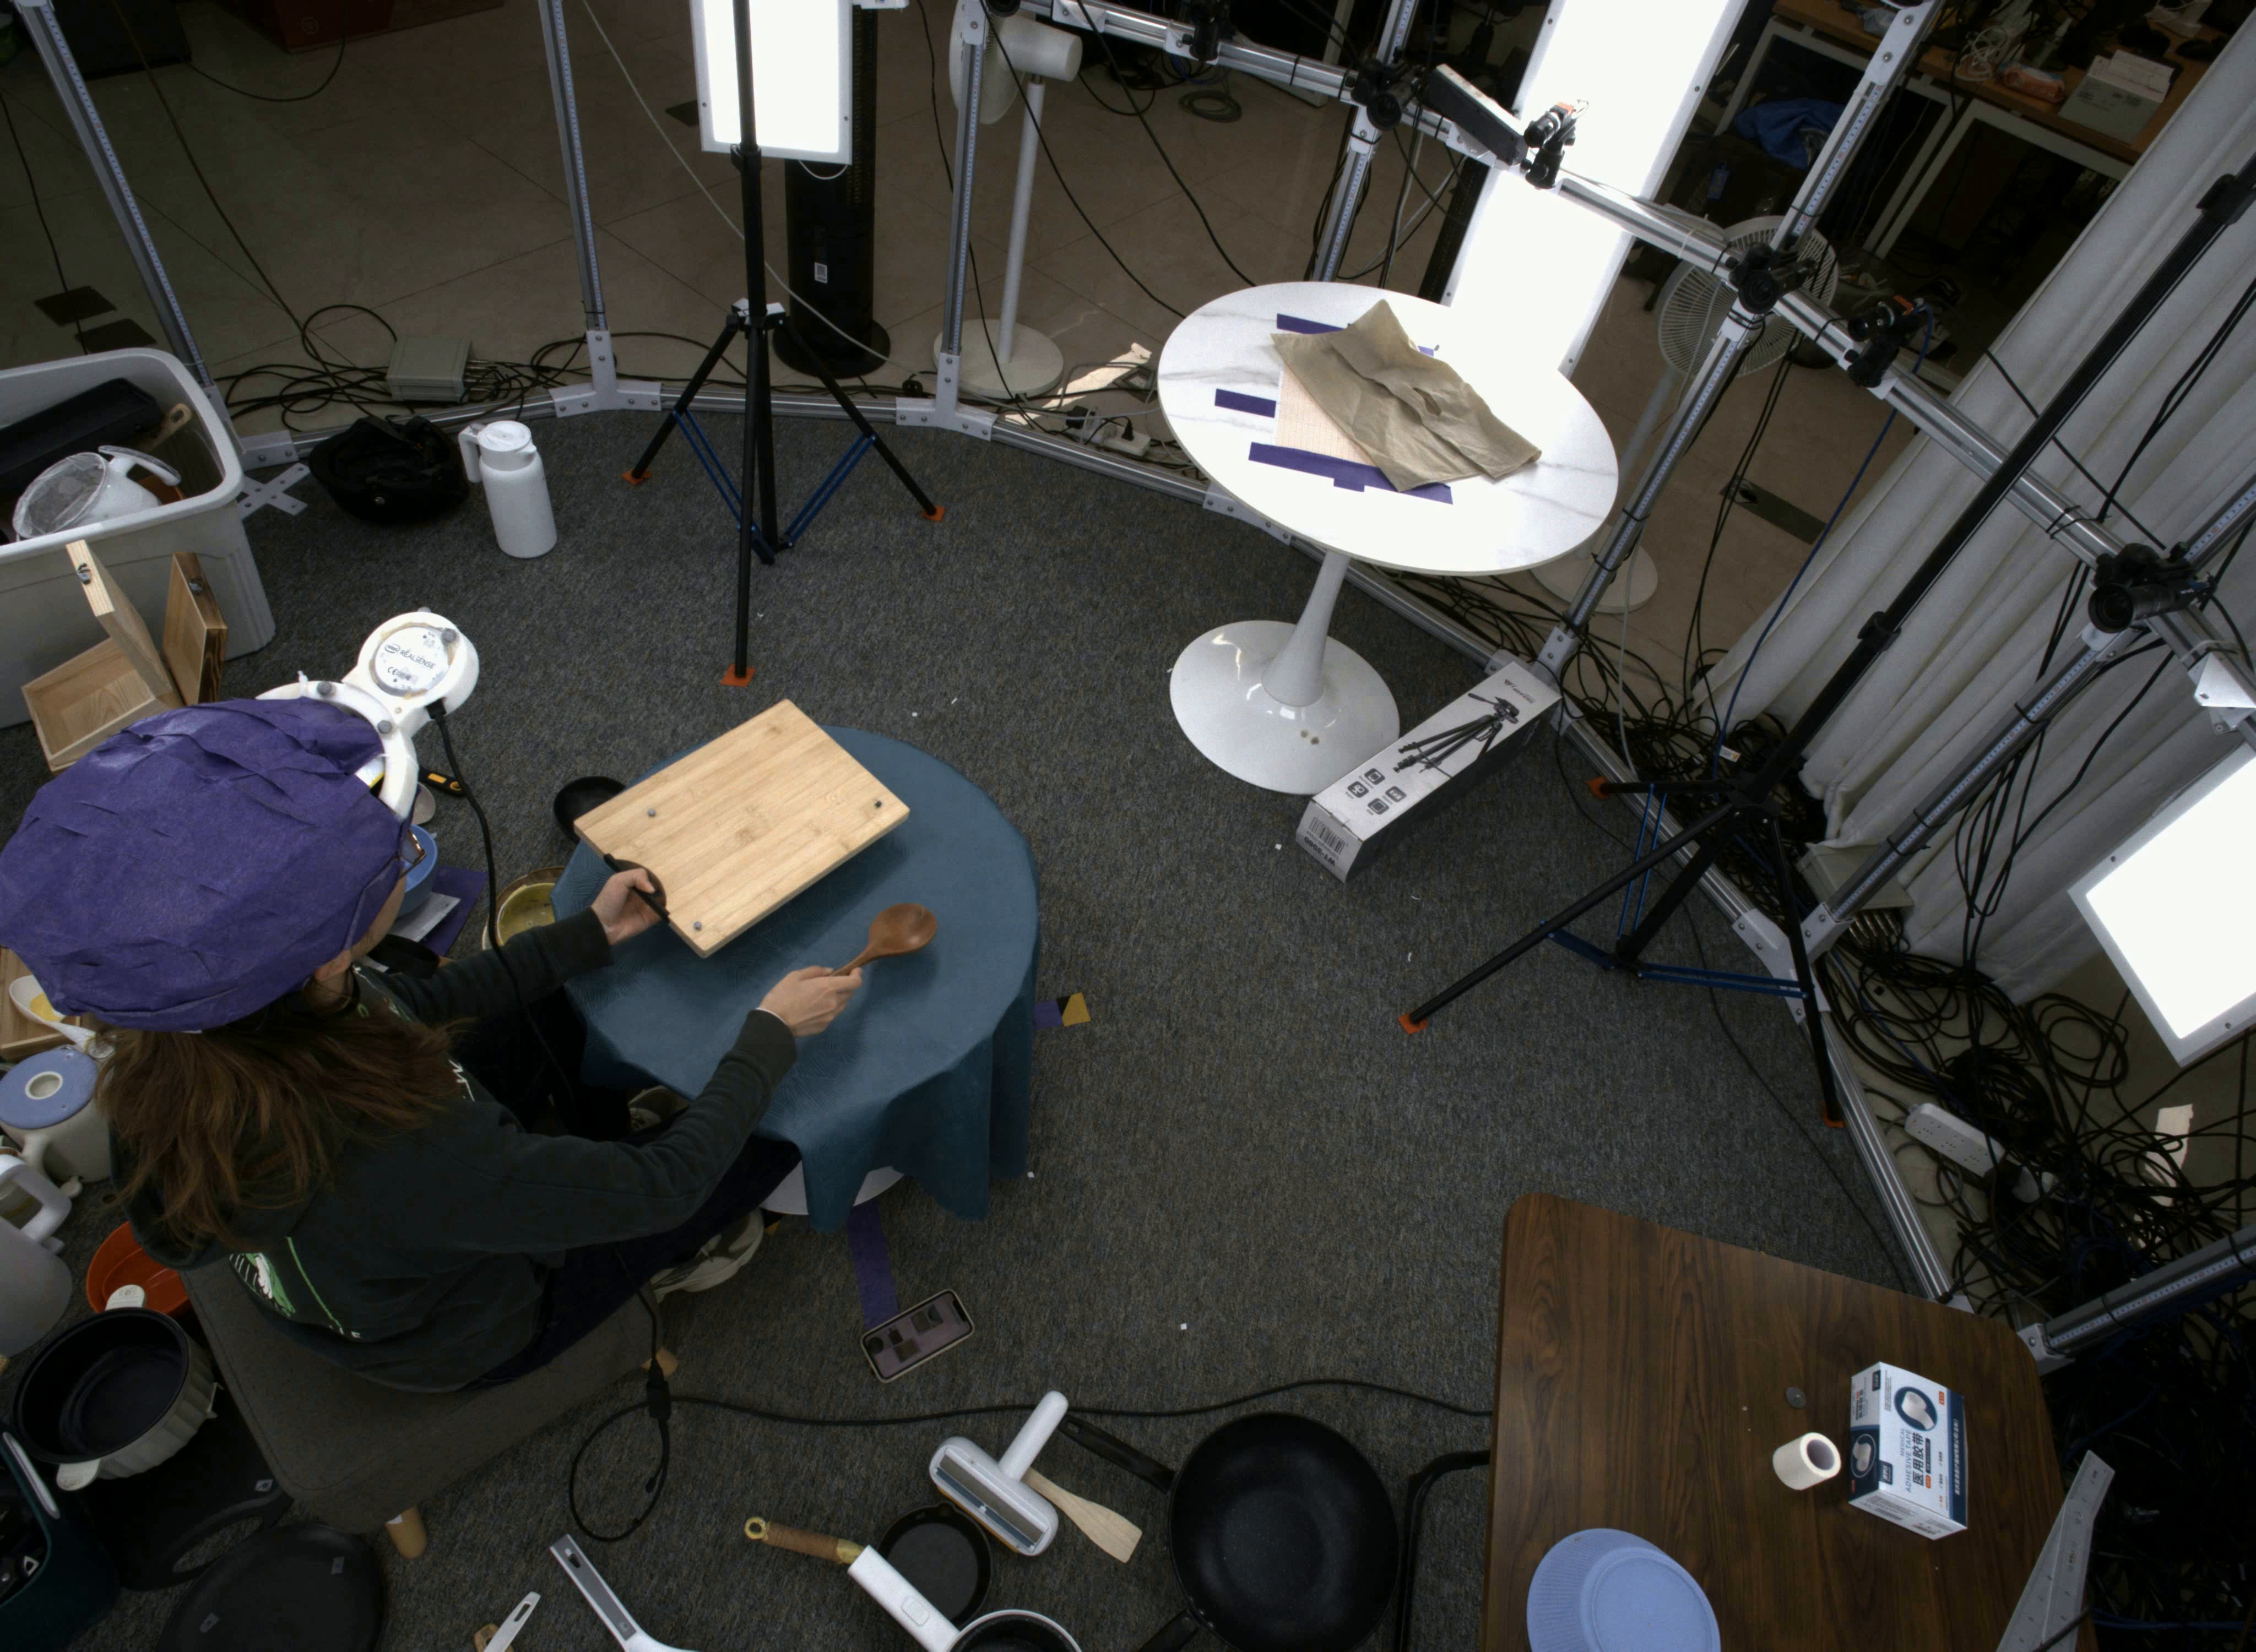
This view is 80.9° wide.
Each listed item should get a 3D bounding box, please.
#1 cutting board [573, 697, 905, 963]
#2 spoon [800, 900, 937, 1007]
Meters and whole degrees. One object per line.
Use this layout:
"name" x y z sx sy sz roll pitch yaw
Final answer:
"cutting board" -0.483 -0.007 1.620 0.247 0.024 0.349 40 50 11
"spoon" -0.313 0.152 1.562 0.074 0.017 0.216 36 42 15
